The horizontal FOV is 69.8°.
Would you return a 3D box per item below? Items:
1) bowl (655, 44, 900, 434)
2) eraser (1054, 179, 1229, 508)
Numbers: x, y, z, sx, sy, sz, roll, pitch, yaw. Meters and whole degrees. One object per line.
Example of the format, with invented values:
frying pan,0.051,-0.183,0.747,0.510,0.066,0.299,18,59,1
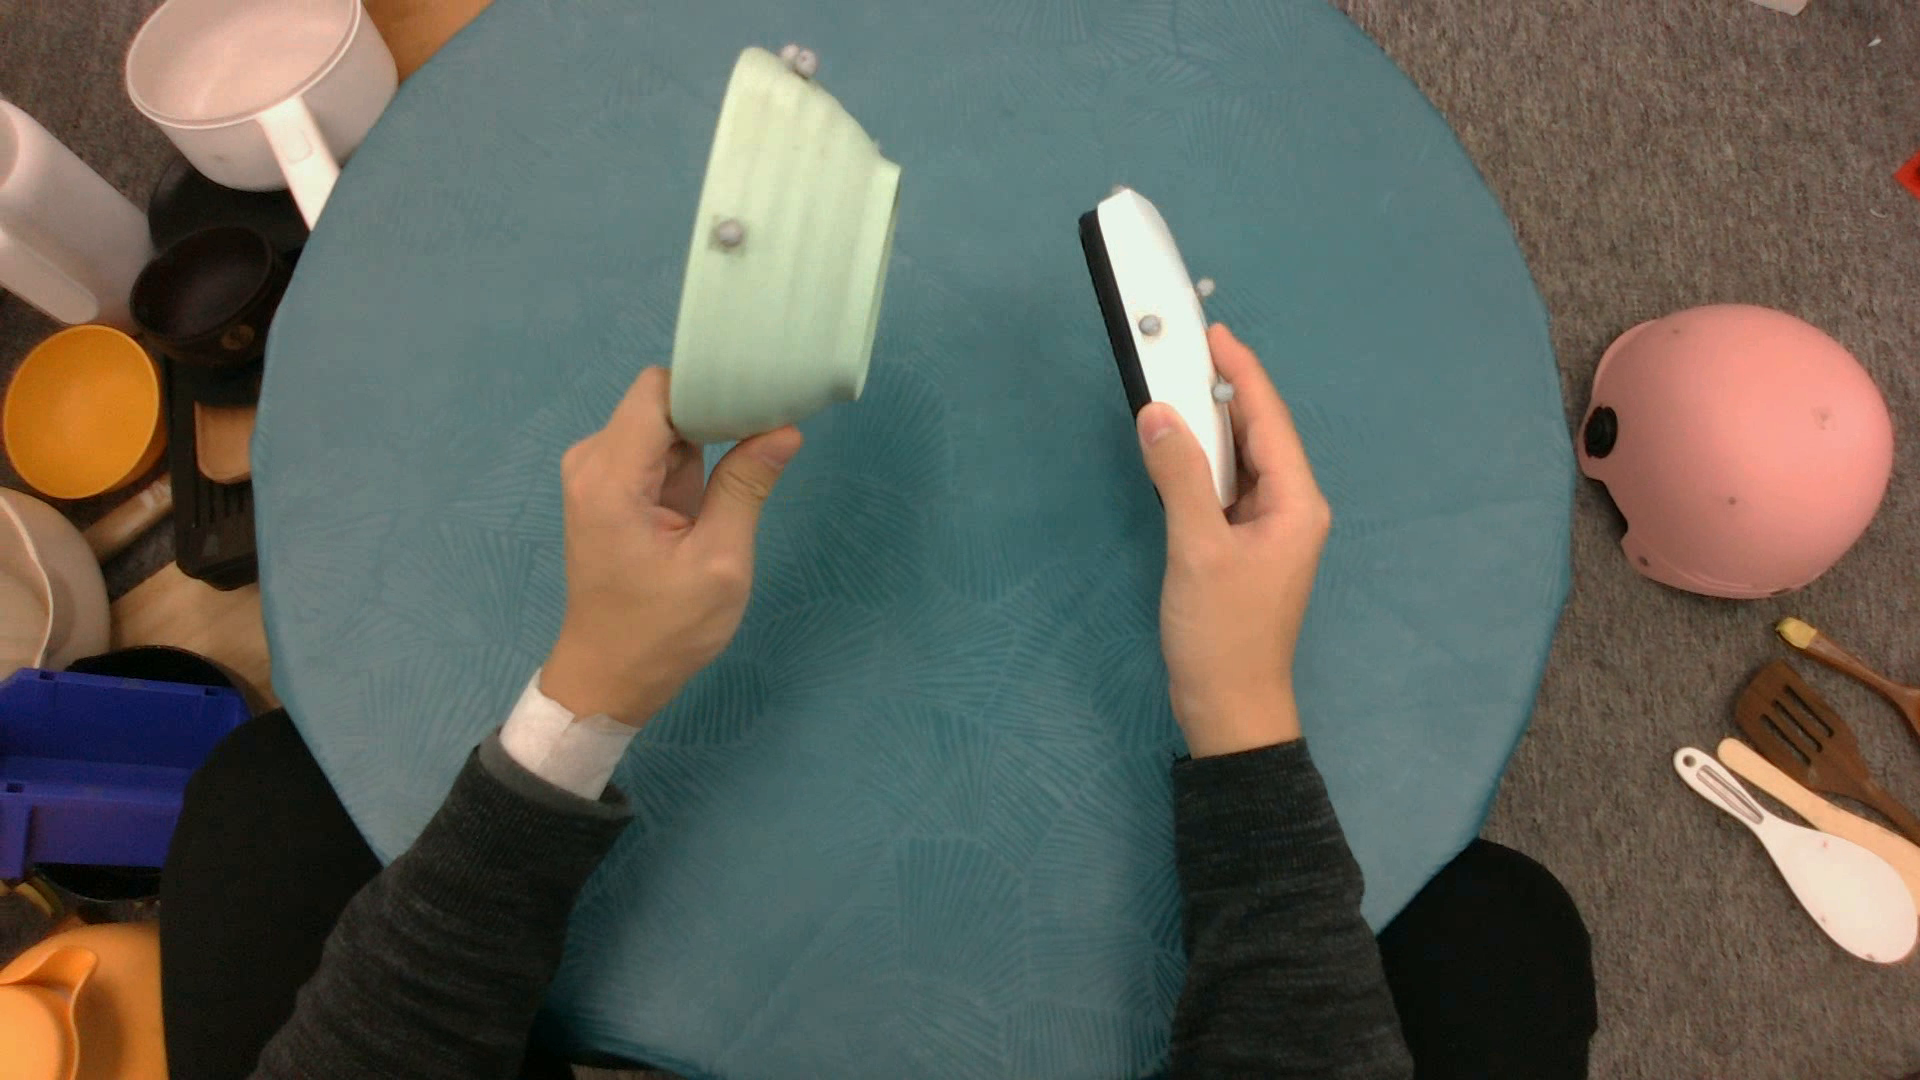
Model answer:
bowl,-0.060,-0.100,0.497,0.058,0.151,0.152,14,75,-2
eraser,0.076,-0.078,0.547,0.034,0.063,0.131,-19,91,19
